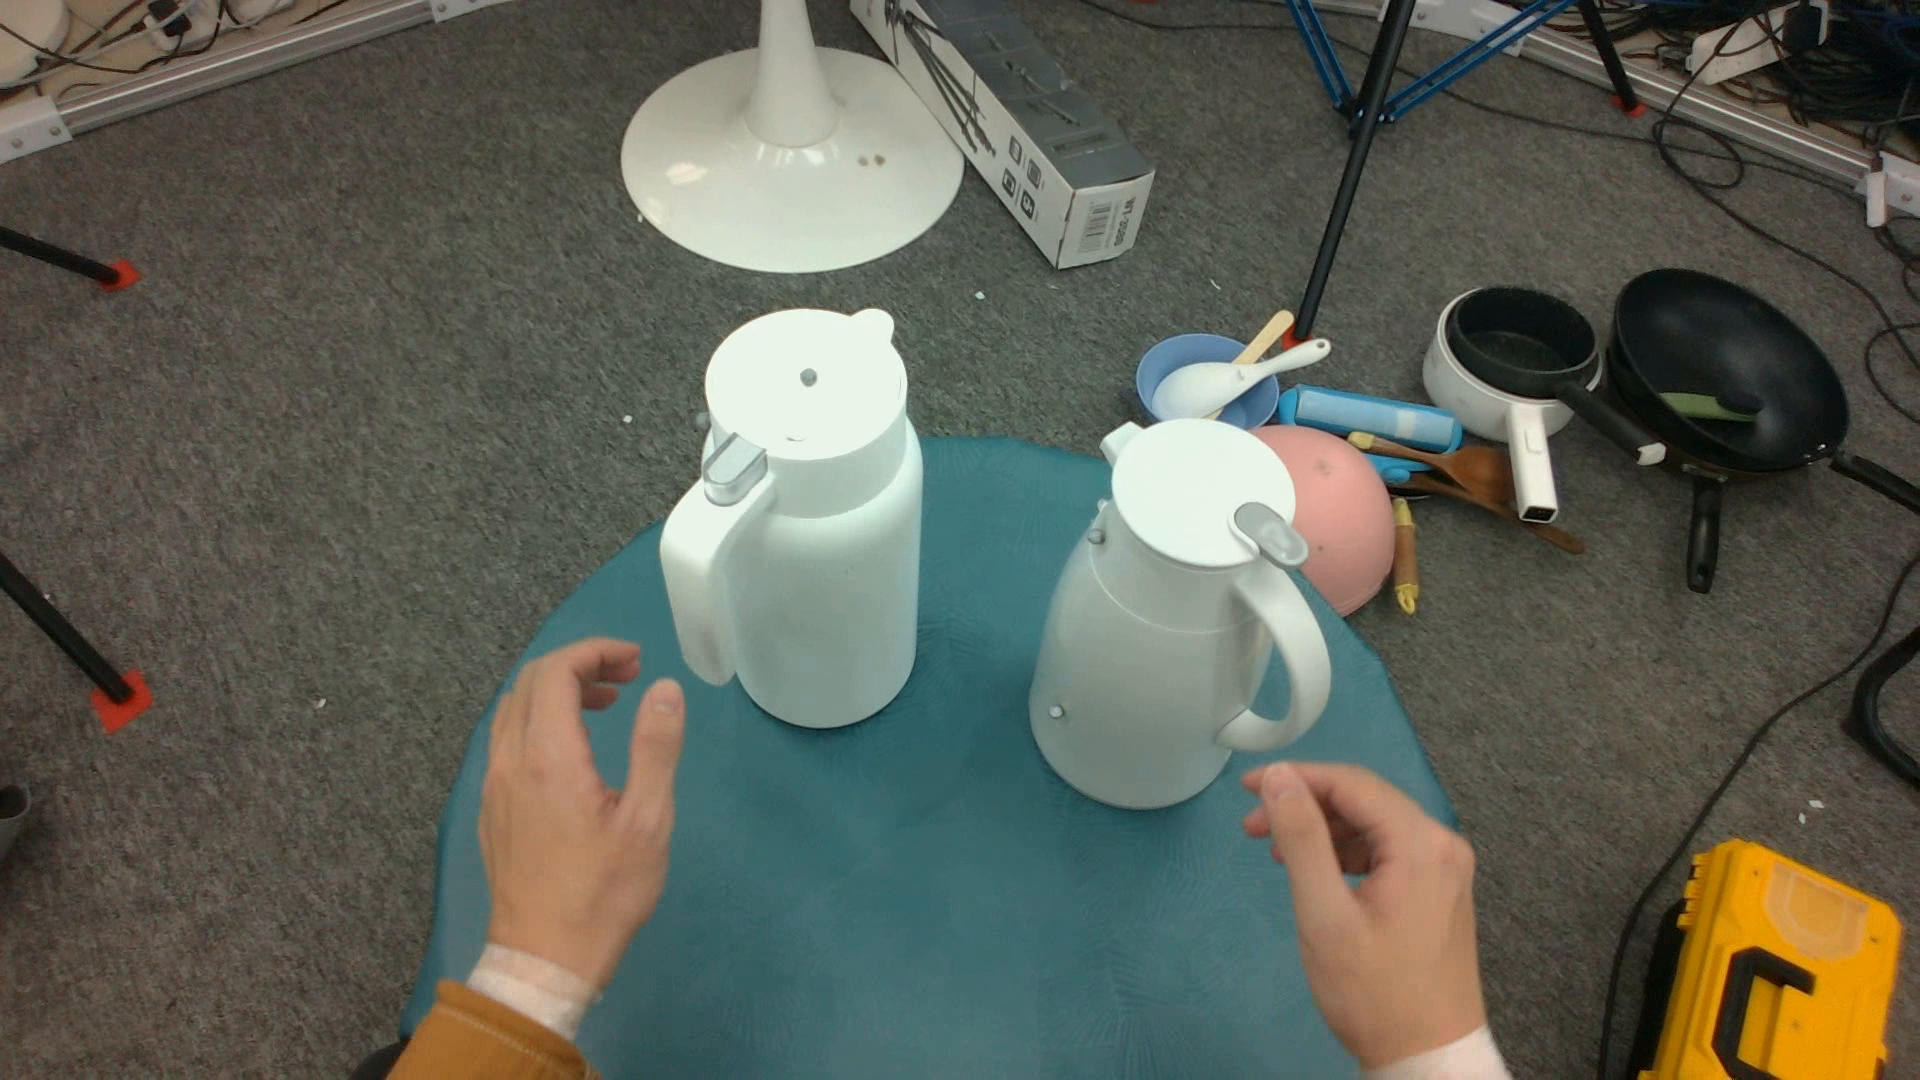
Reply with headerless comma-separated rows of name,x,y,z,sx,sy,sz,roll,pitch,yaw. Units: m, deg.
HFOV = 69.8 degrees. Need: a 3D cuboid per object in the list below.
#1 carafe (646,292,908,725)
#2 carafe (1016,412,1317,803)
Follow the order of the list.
carafe,-0.097,0.007,0.767,0.124,0.267,0.173,28,58,13
carafe,0.120,0.049,0.766,0.133,0.247,0.168,-34,64,-24
